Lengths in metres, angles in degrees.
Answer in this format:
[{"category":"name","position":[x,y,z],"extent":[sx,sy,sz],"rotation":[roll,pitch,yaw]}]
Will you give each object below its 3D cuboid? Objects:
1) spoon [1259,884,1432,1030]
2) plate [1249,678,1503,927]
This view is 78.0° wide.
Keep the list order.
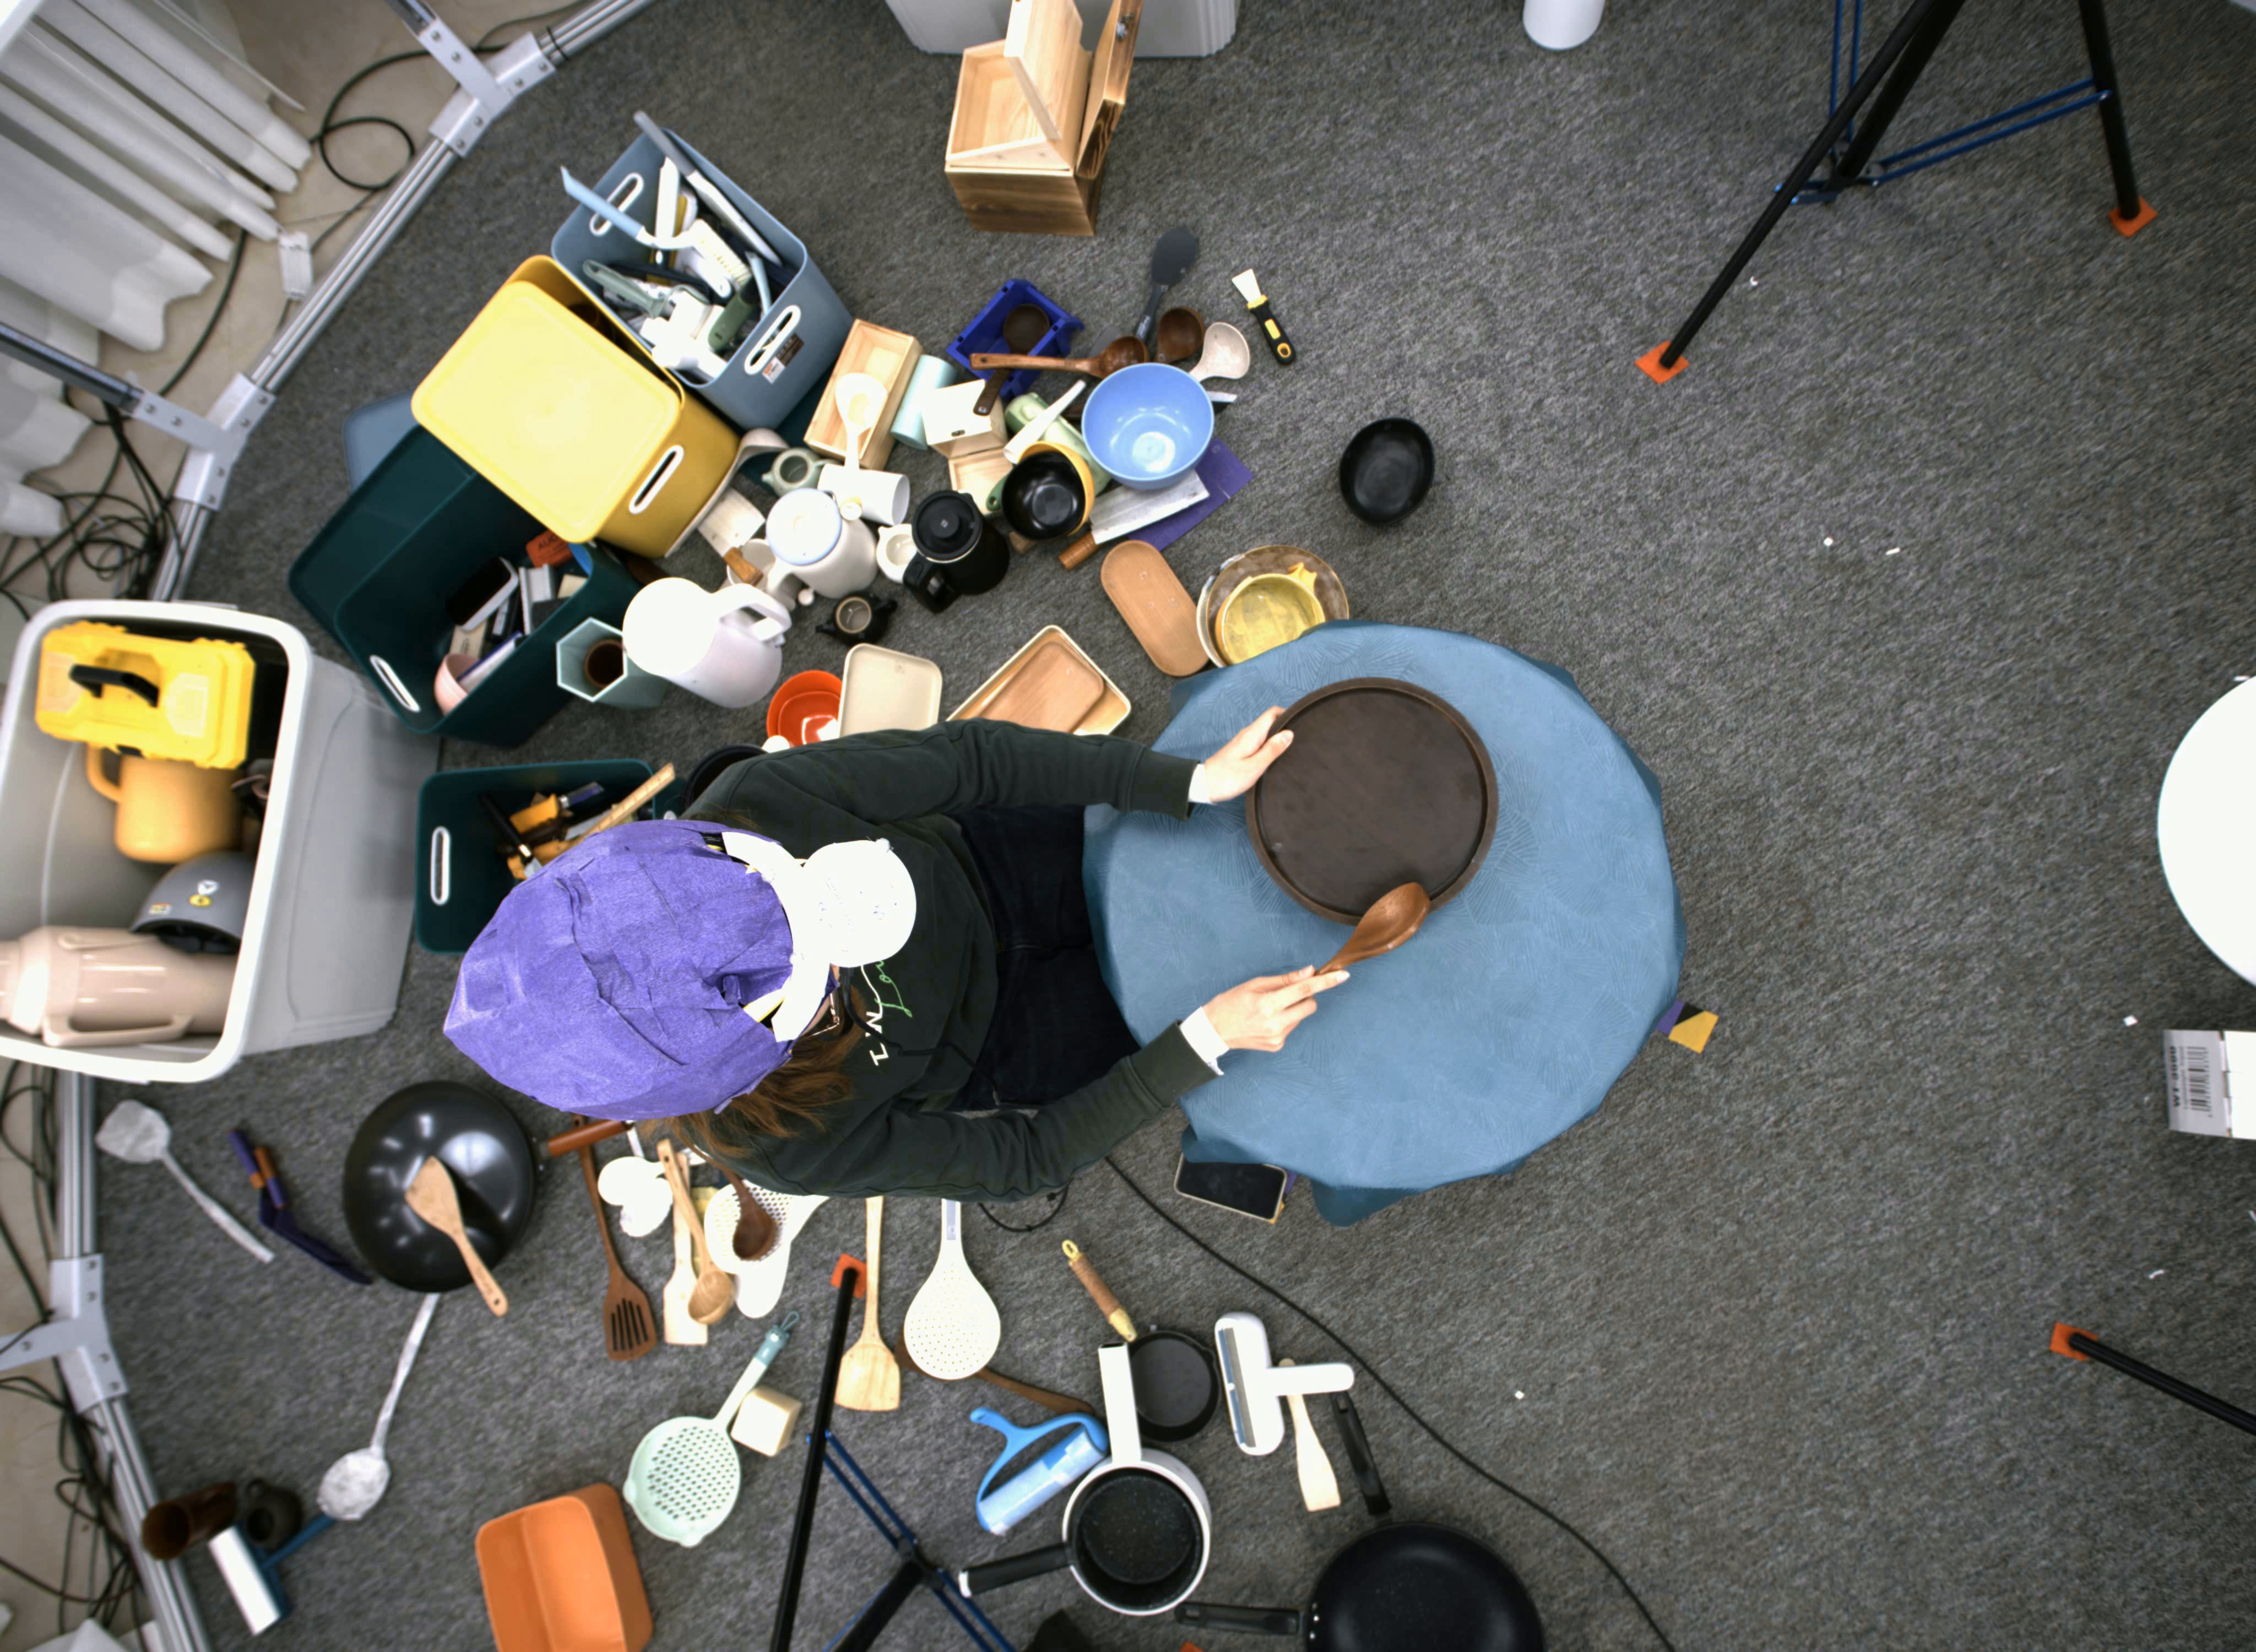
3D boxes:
[{"category":"spoon","position":[0.213,0.131,1.353],"extent":[0.219,0.074,0.017],"rotation":[-40,117,20]},{"category":"plate","position":[0.249,-0.024,1.393],"extent":[0.256,0.029,0.256],"rotation":[1,97,12]}]
